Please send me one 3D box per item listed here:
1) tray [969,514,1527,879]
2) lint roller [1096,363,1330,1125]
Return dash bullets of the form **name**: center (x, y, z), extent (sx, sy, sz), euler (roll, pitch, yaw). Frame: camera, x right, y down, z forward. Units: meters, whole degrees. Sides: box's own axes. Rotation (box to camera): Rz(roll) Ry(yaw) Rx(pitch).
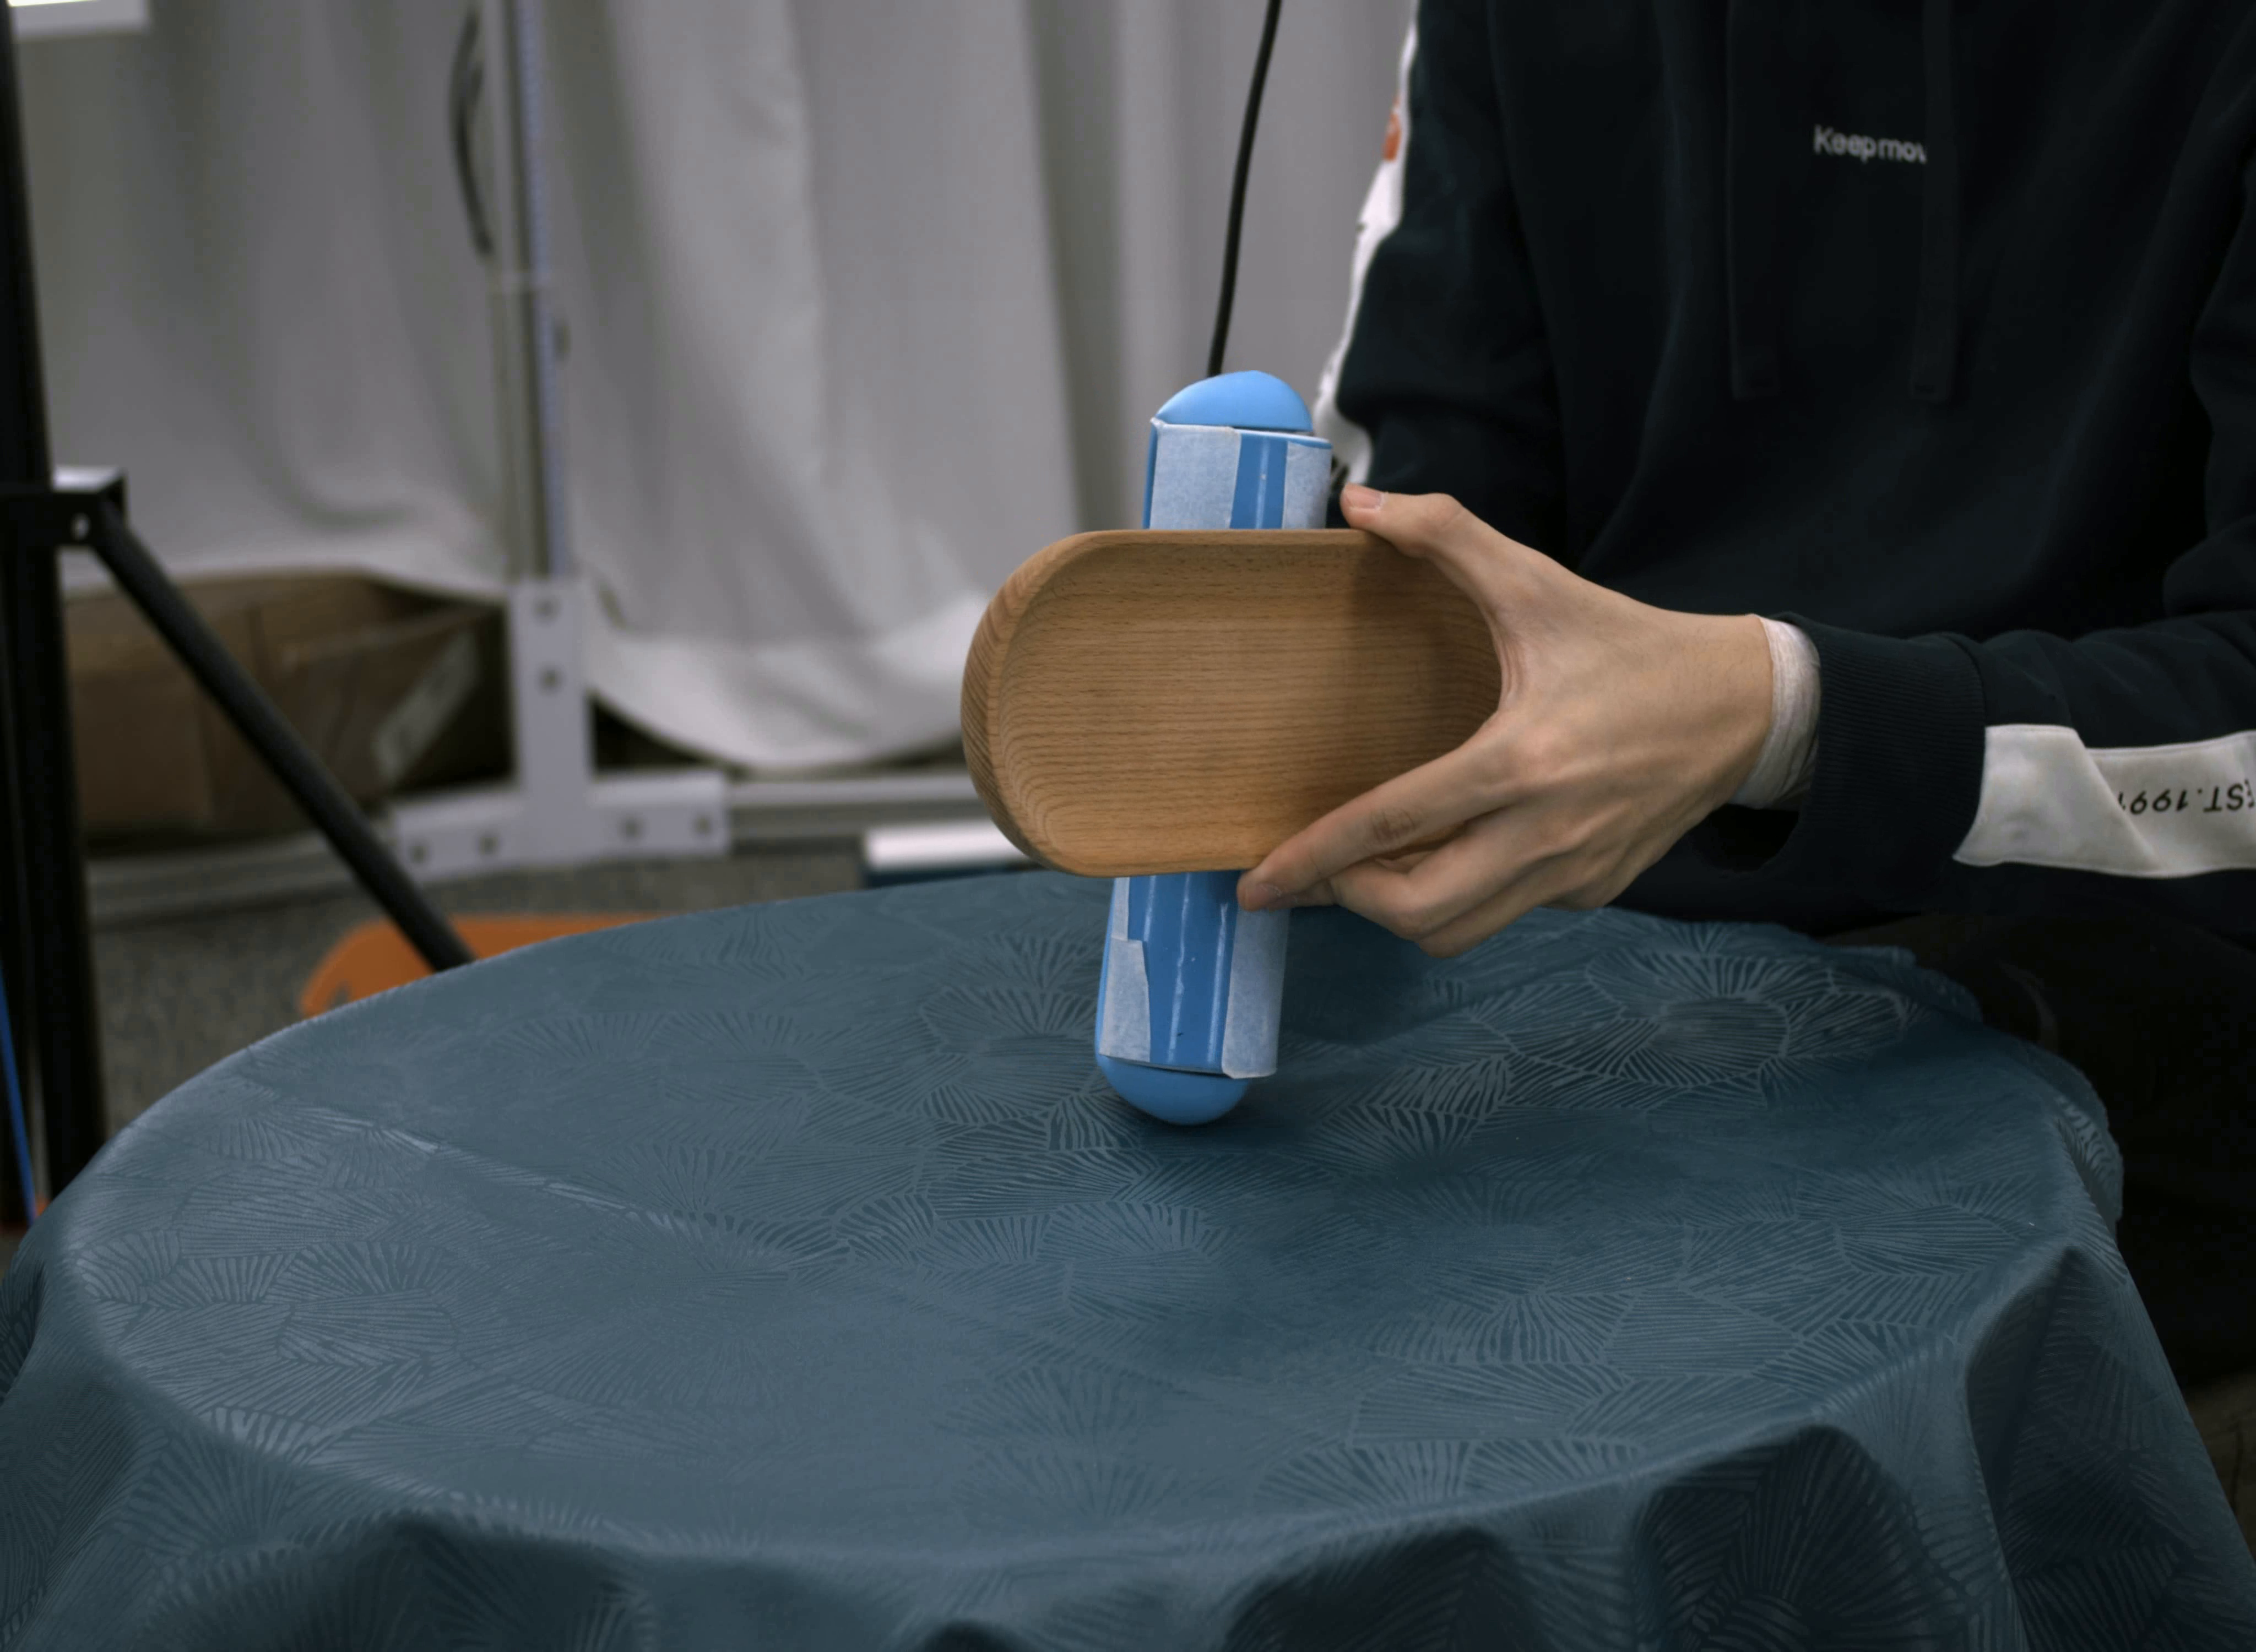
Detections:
- **tray**: center (0.039, -0.040, 1.568), extent (0.021, 0.102, 0.225), euler (8, 9, 44)
- **lint roller**: center (0.034, -0.023, 1.664), extent (0.068, 0.230, 0.178), euler (4, -2, 9)
